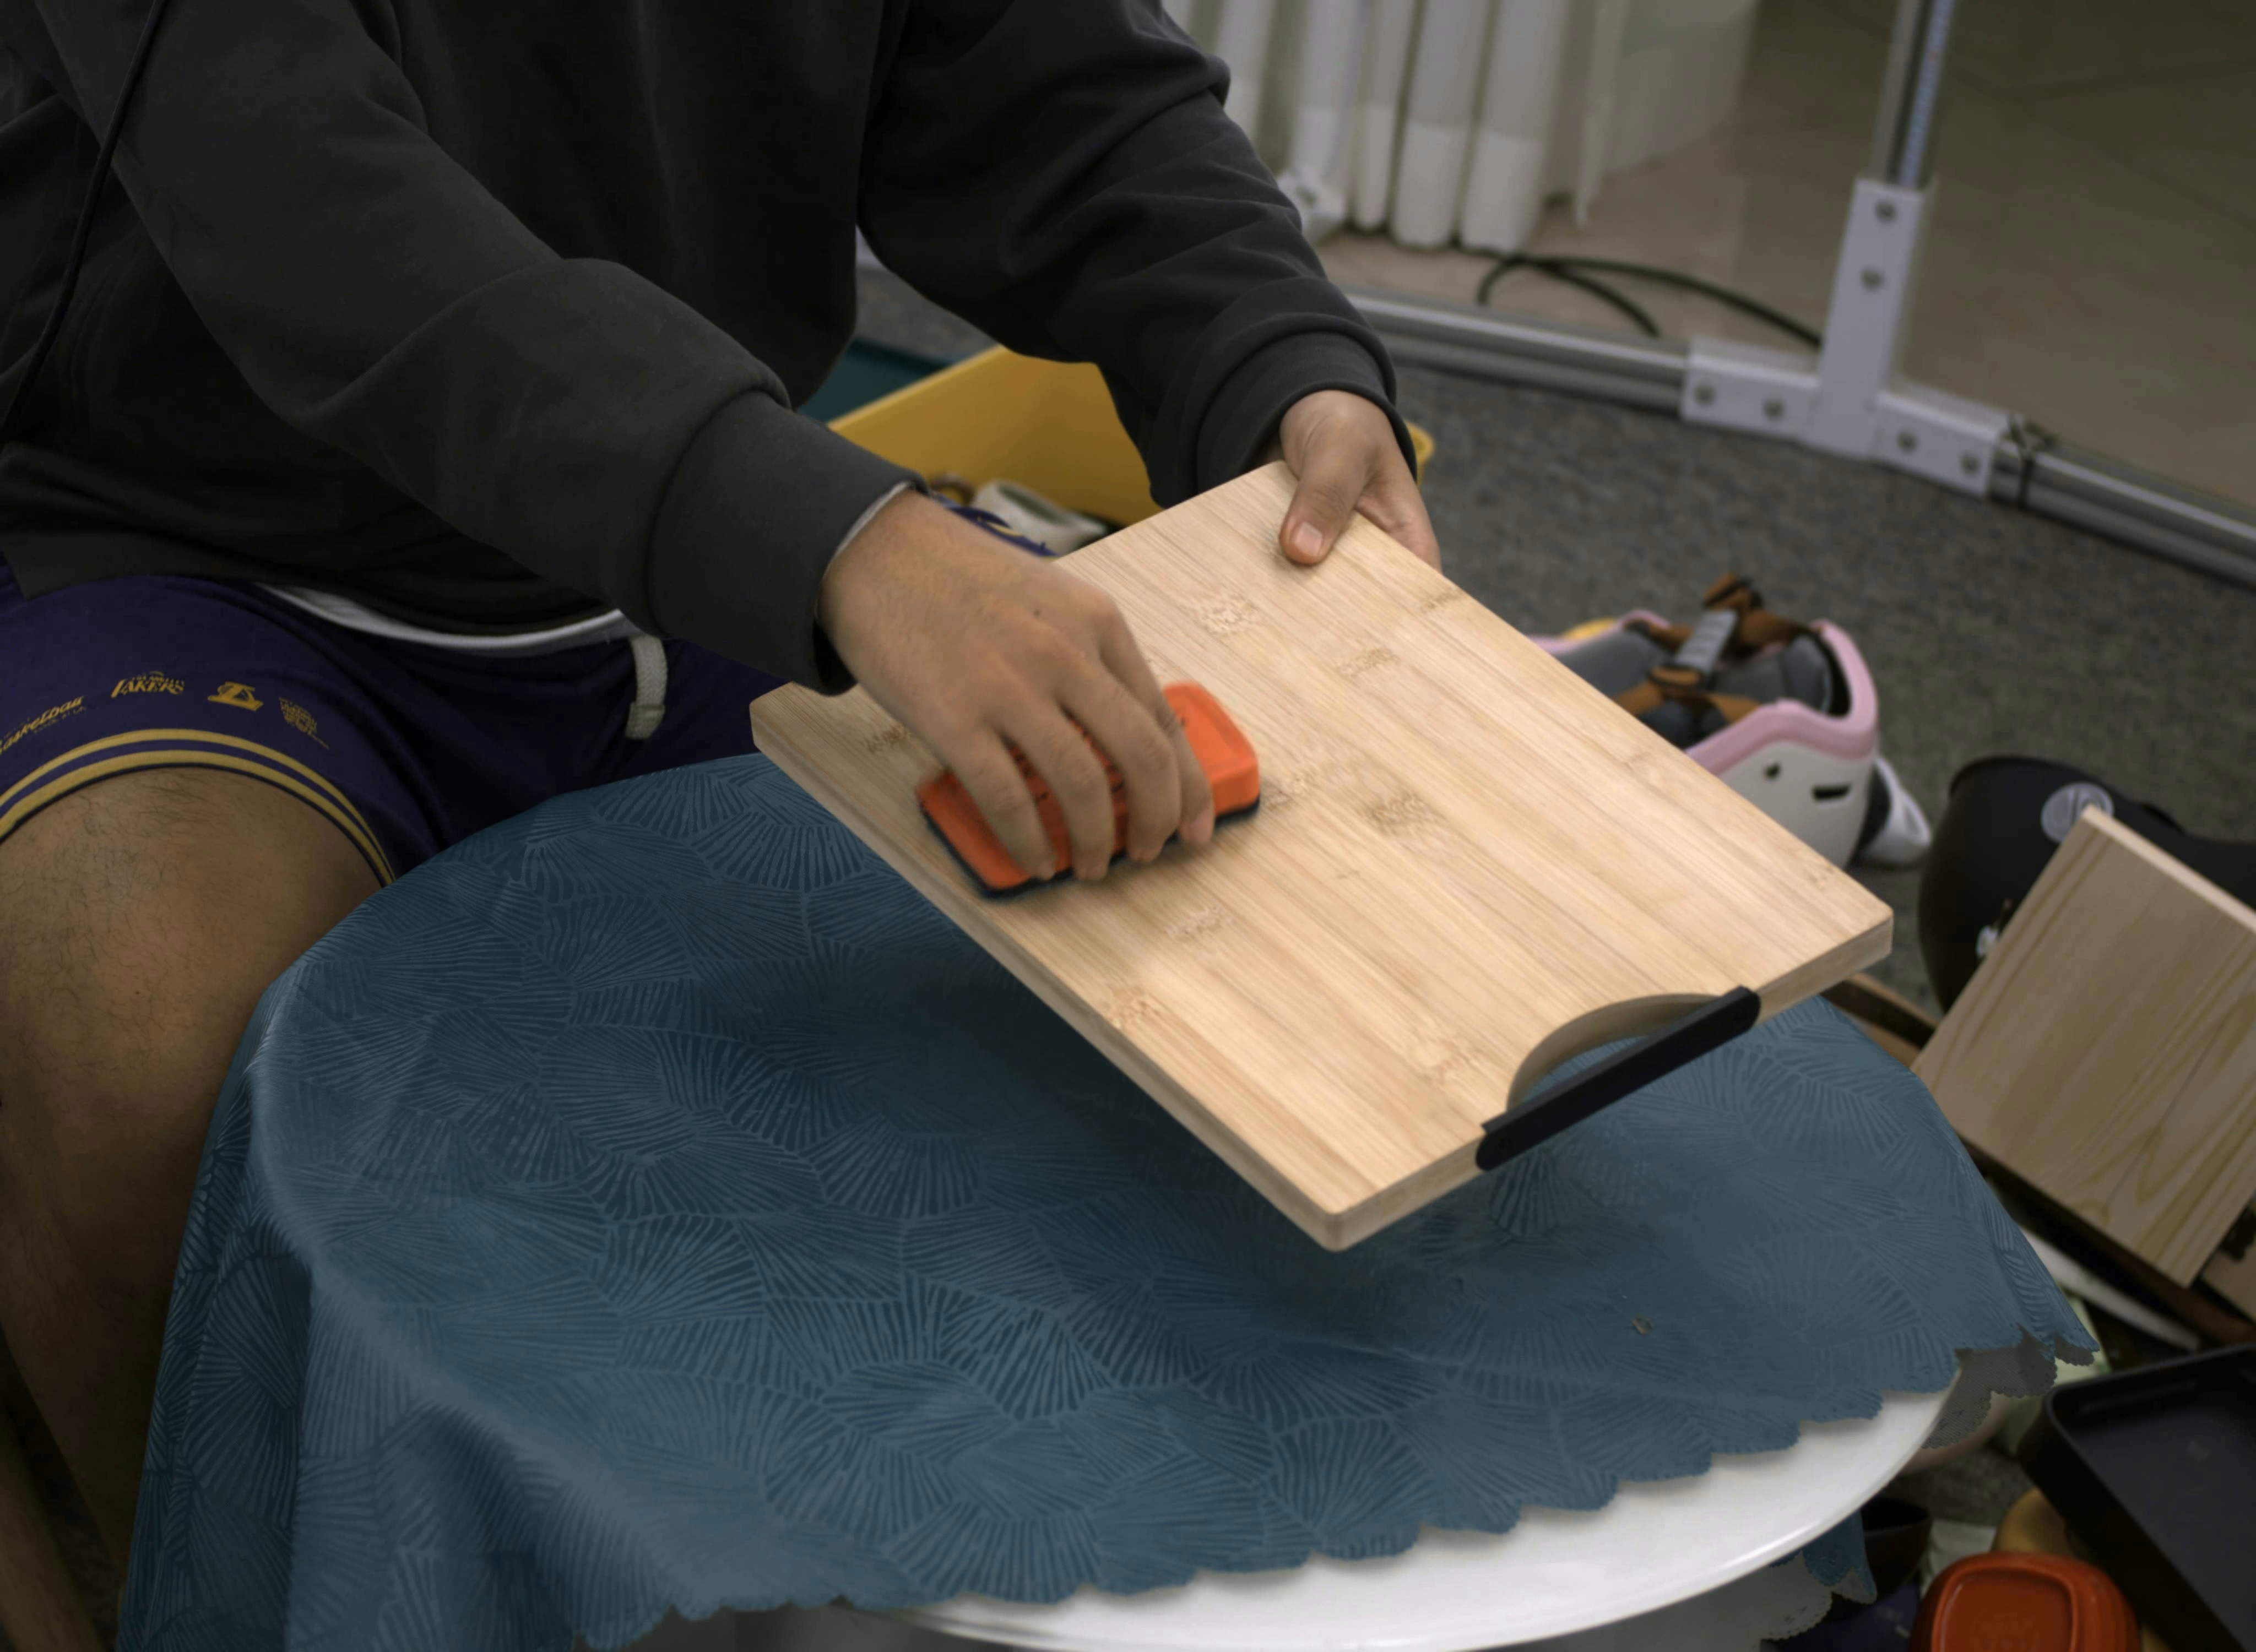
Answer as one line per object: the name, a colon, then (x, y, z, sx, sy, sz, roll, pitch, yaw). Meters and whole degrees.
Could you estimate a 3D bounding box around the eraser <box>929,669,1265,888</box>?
eraser: (-0.011, -0.017, 1.822, 0.107, 0.023, 0.059, -19, 42, -19)

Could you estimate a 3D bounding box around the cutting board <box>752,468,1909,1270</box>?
cutting board: (0.063, 0.002, 1.826, 0.250, 0.023, 0.352, -27, 44, -26)
